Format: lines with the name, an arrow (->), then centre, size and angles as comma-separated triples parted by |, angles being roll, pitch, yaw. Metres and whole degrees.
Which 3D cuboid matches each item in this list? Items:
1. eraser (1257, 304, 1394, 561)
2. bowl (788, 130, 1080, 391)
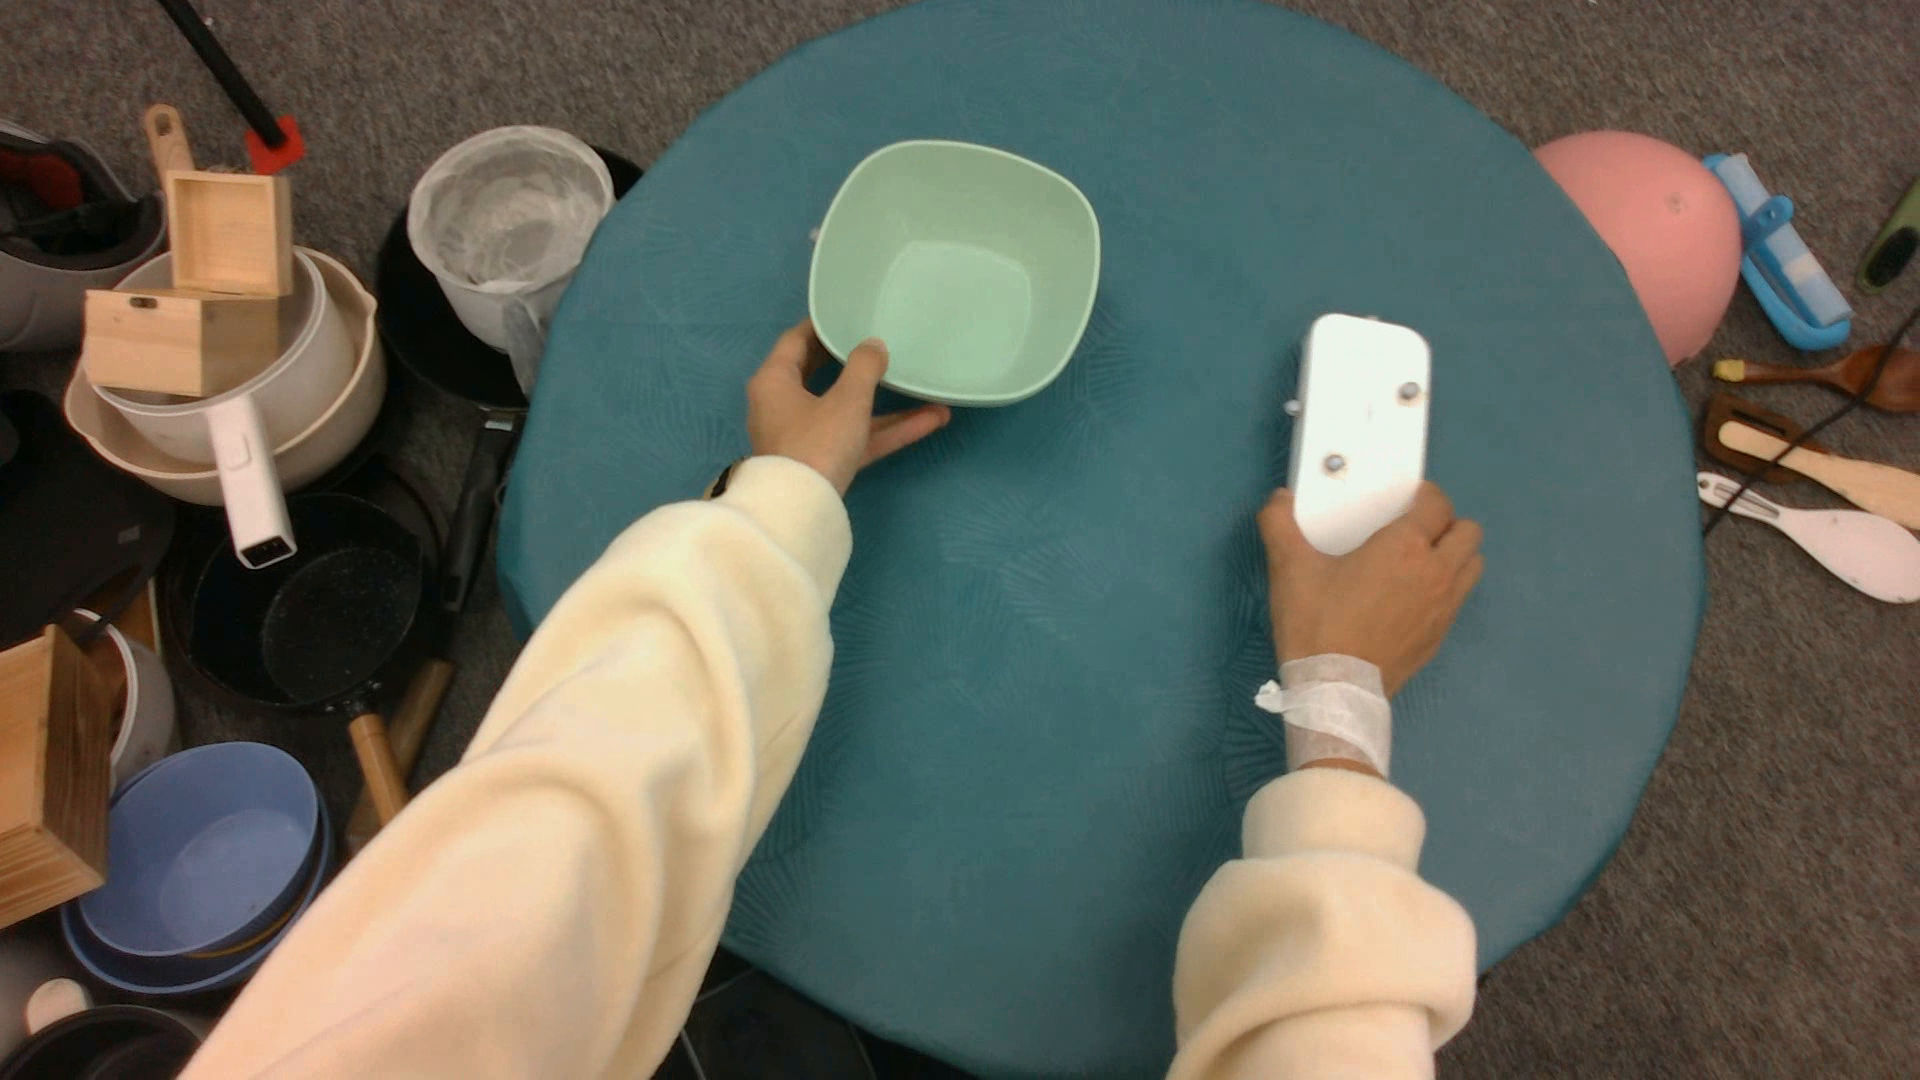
eraser -> 0.182, -0.055, 0.689 | 0.063, 0.034, 0.132 | 11, 70, -7
bowl -> -0.012, -0.130, 0.690 | 0.151, 0.058, 0.152 | 0, 70, 1
